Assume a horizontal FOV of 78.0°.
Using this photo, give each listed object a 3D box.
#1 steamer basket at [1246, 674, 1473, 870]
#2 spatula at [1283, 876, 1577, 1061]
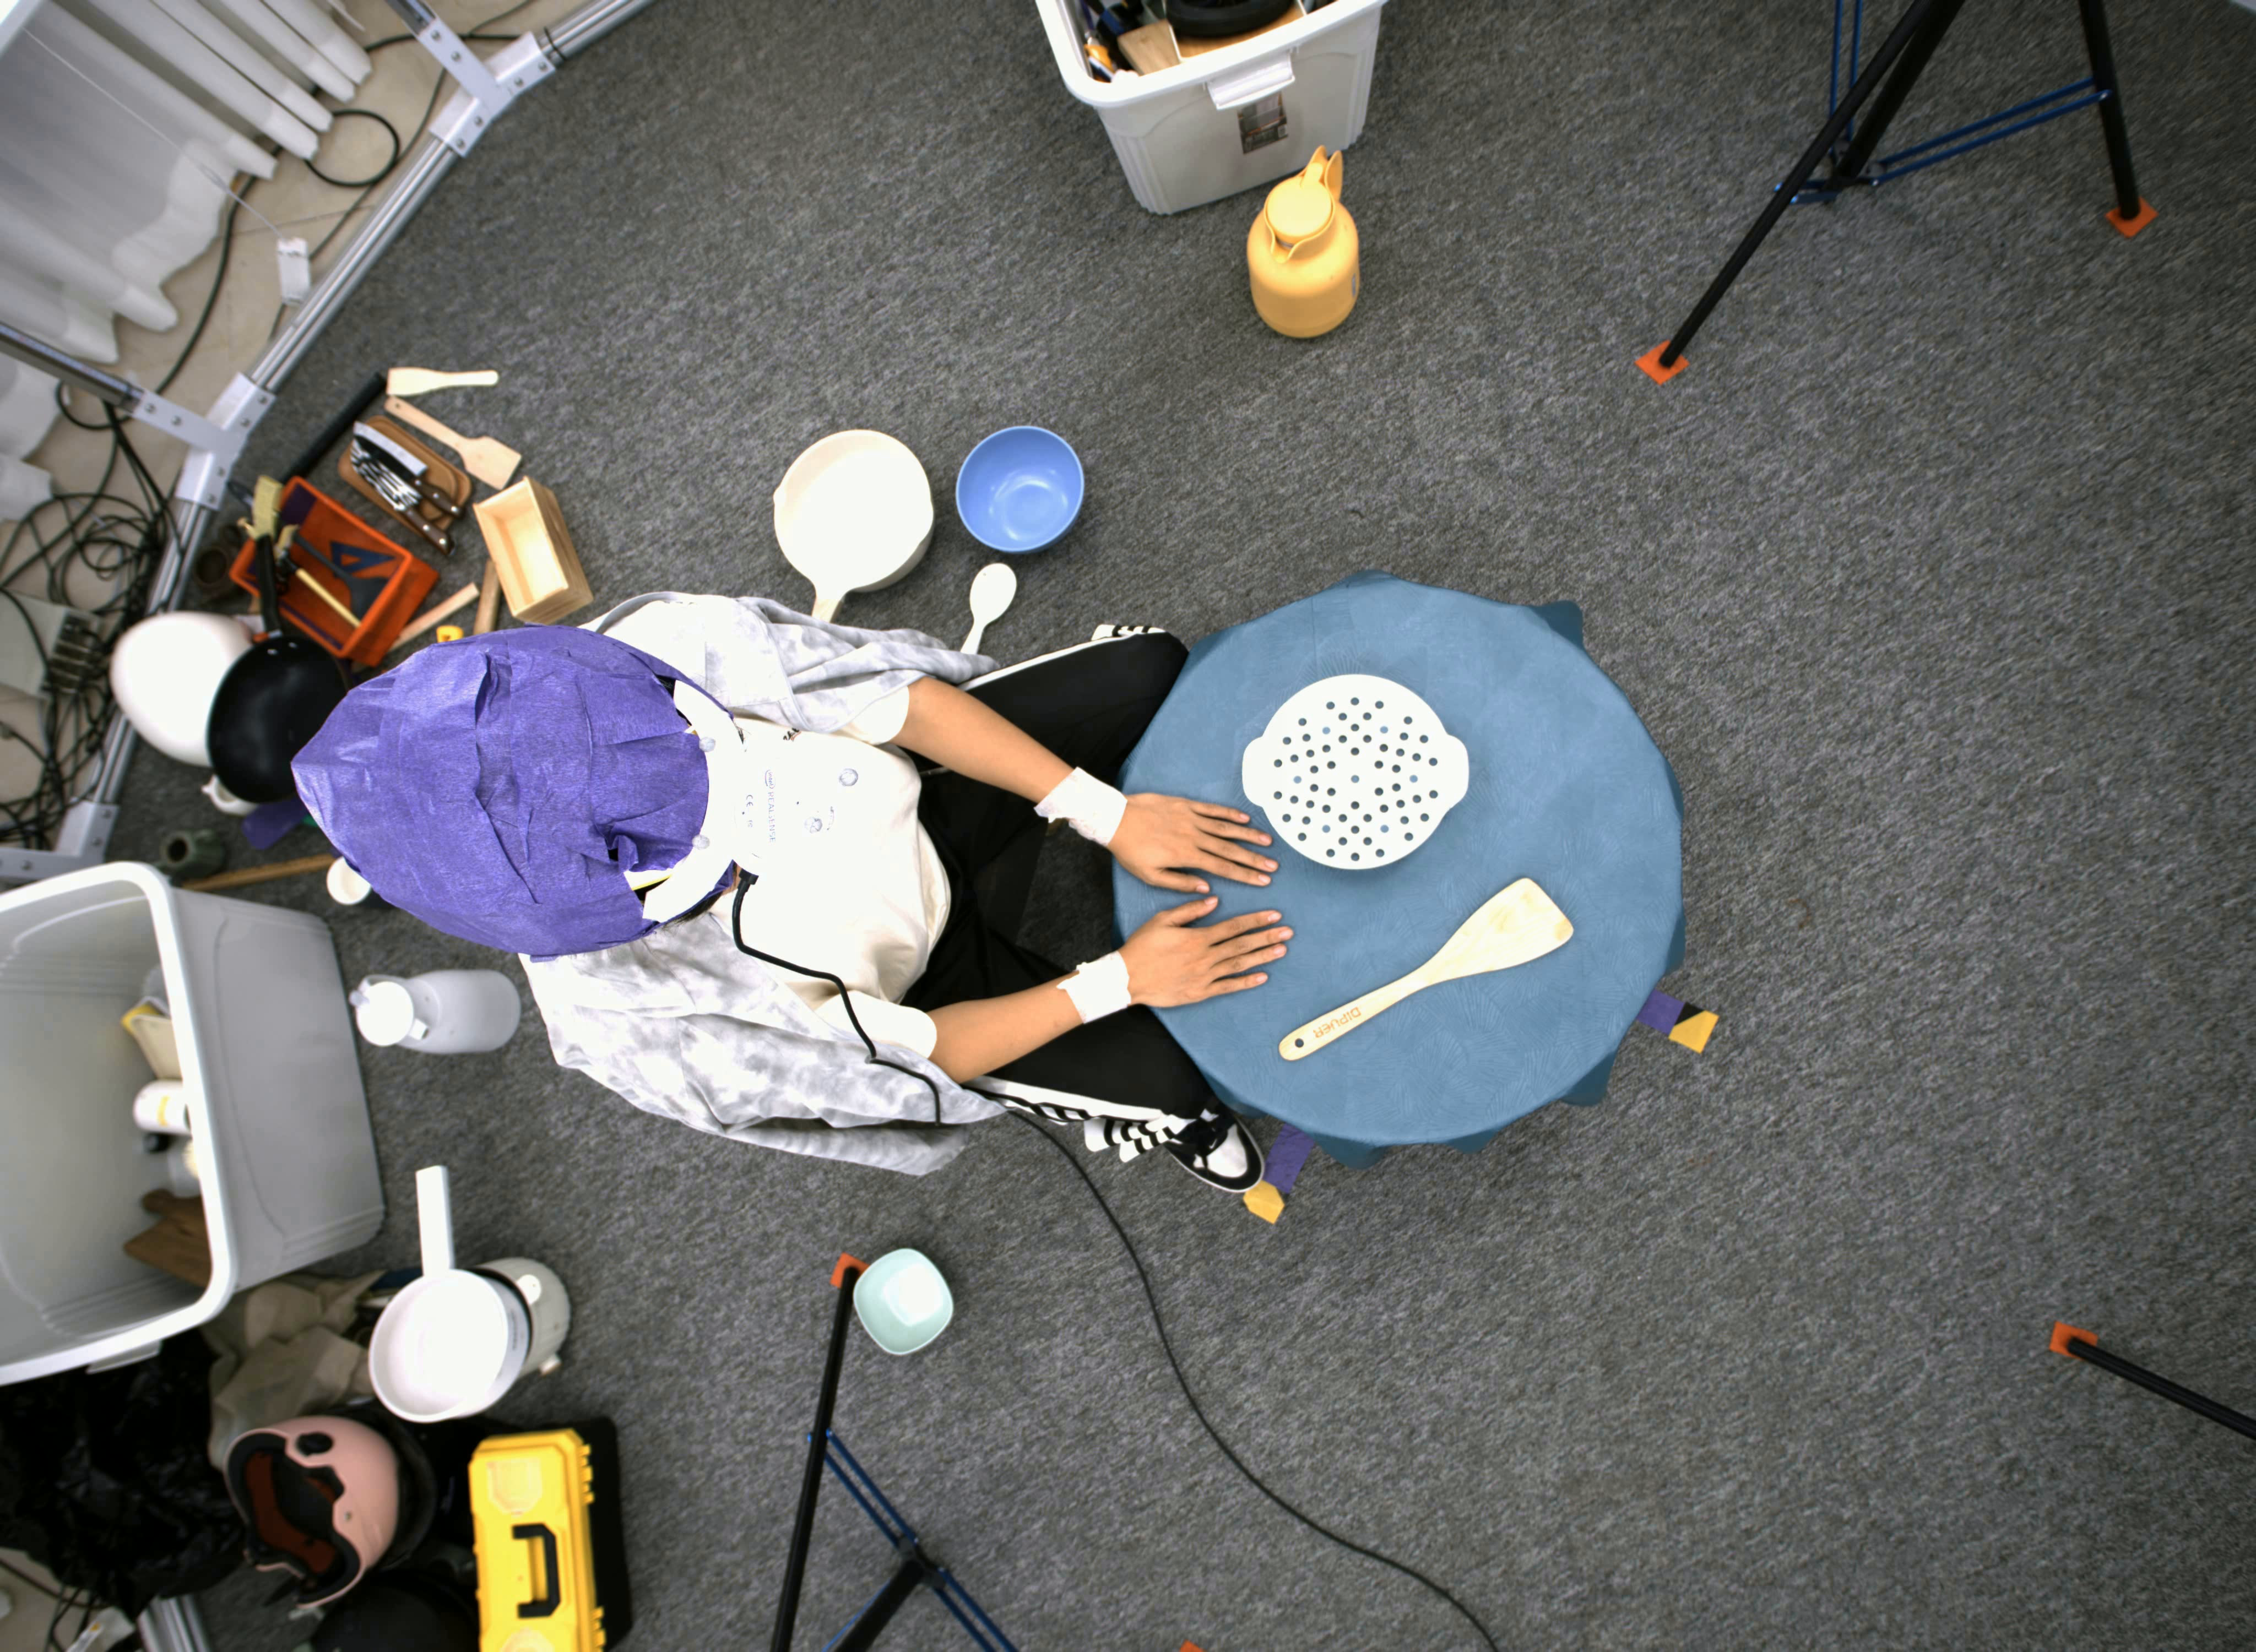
[{"bbox_3d":[0.241,-0.055,1.437,0.231,0.069,0.201,0,85,12],"label":"steamer basket"},{"bbox_3d":[0.304,0.156,1.438,0.329,0.016,0.079,-30,81,8],"label":"spatula"}]
